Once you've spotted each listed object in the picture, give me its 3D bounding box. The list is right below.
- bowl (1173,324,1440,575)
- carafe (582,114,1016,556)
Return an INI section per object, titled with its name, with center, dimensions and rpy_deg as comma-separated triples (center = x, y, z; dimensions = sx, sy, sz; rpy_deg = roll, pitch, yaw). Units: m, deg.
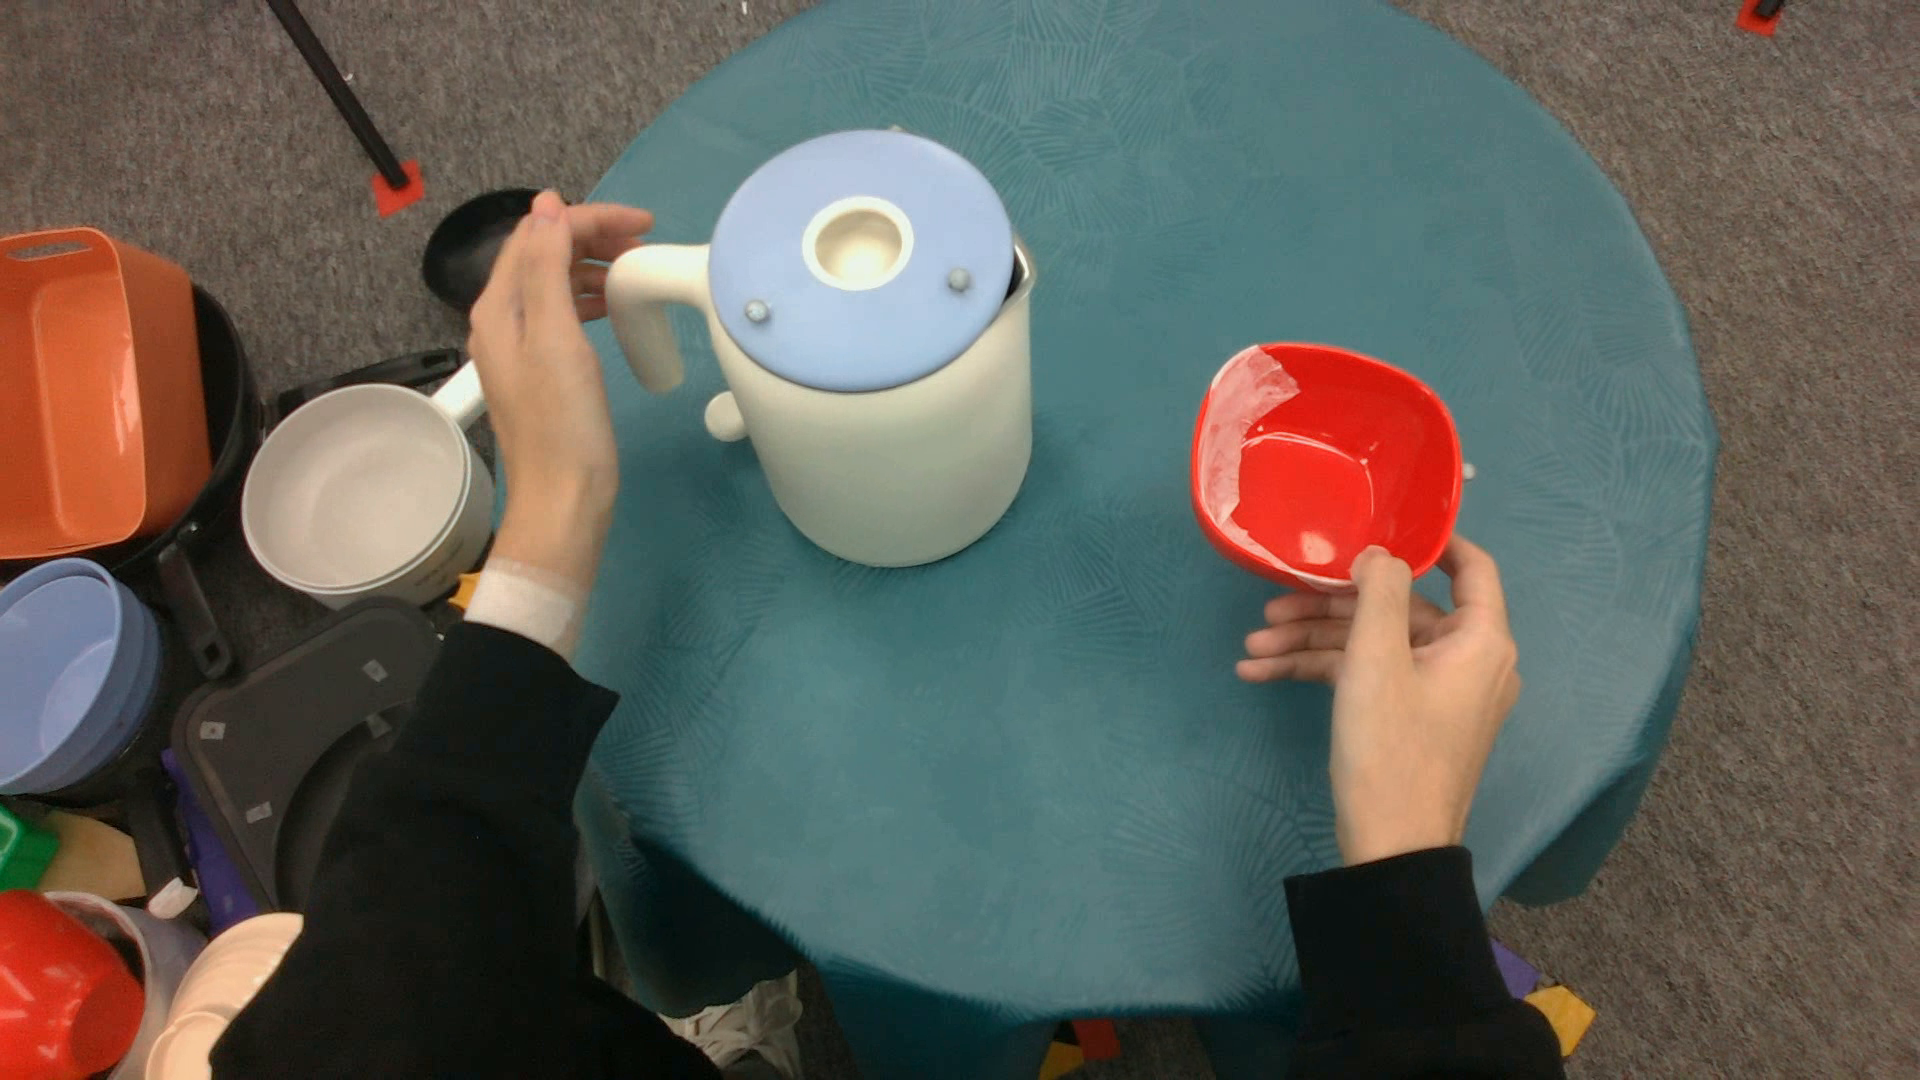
[bowl]
center = 0.140, -0.030, 0.582
dimensions = 0.119, 0.051, 0.119
rpy_deg = 3, 63, -7
[carafe]
center = -0.067, -0.085, 0.606
dimensions = 0.191, 0.182, 0.132
rpy_deg = 3, 66, 7
